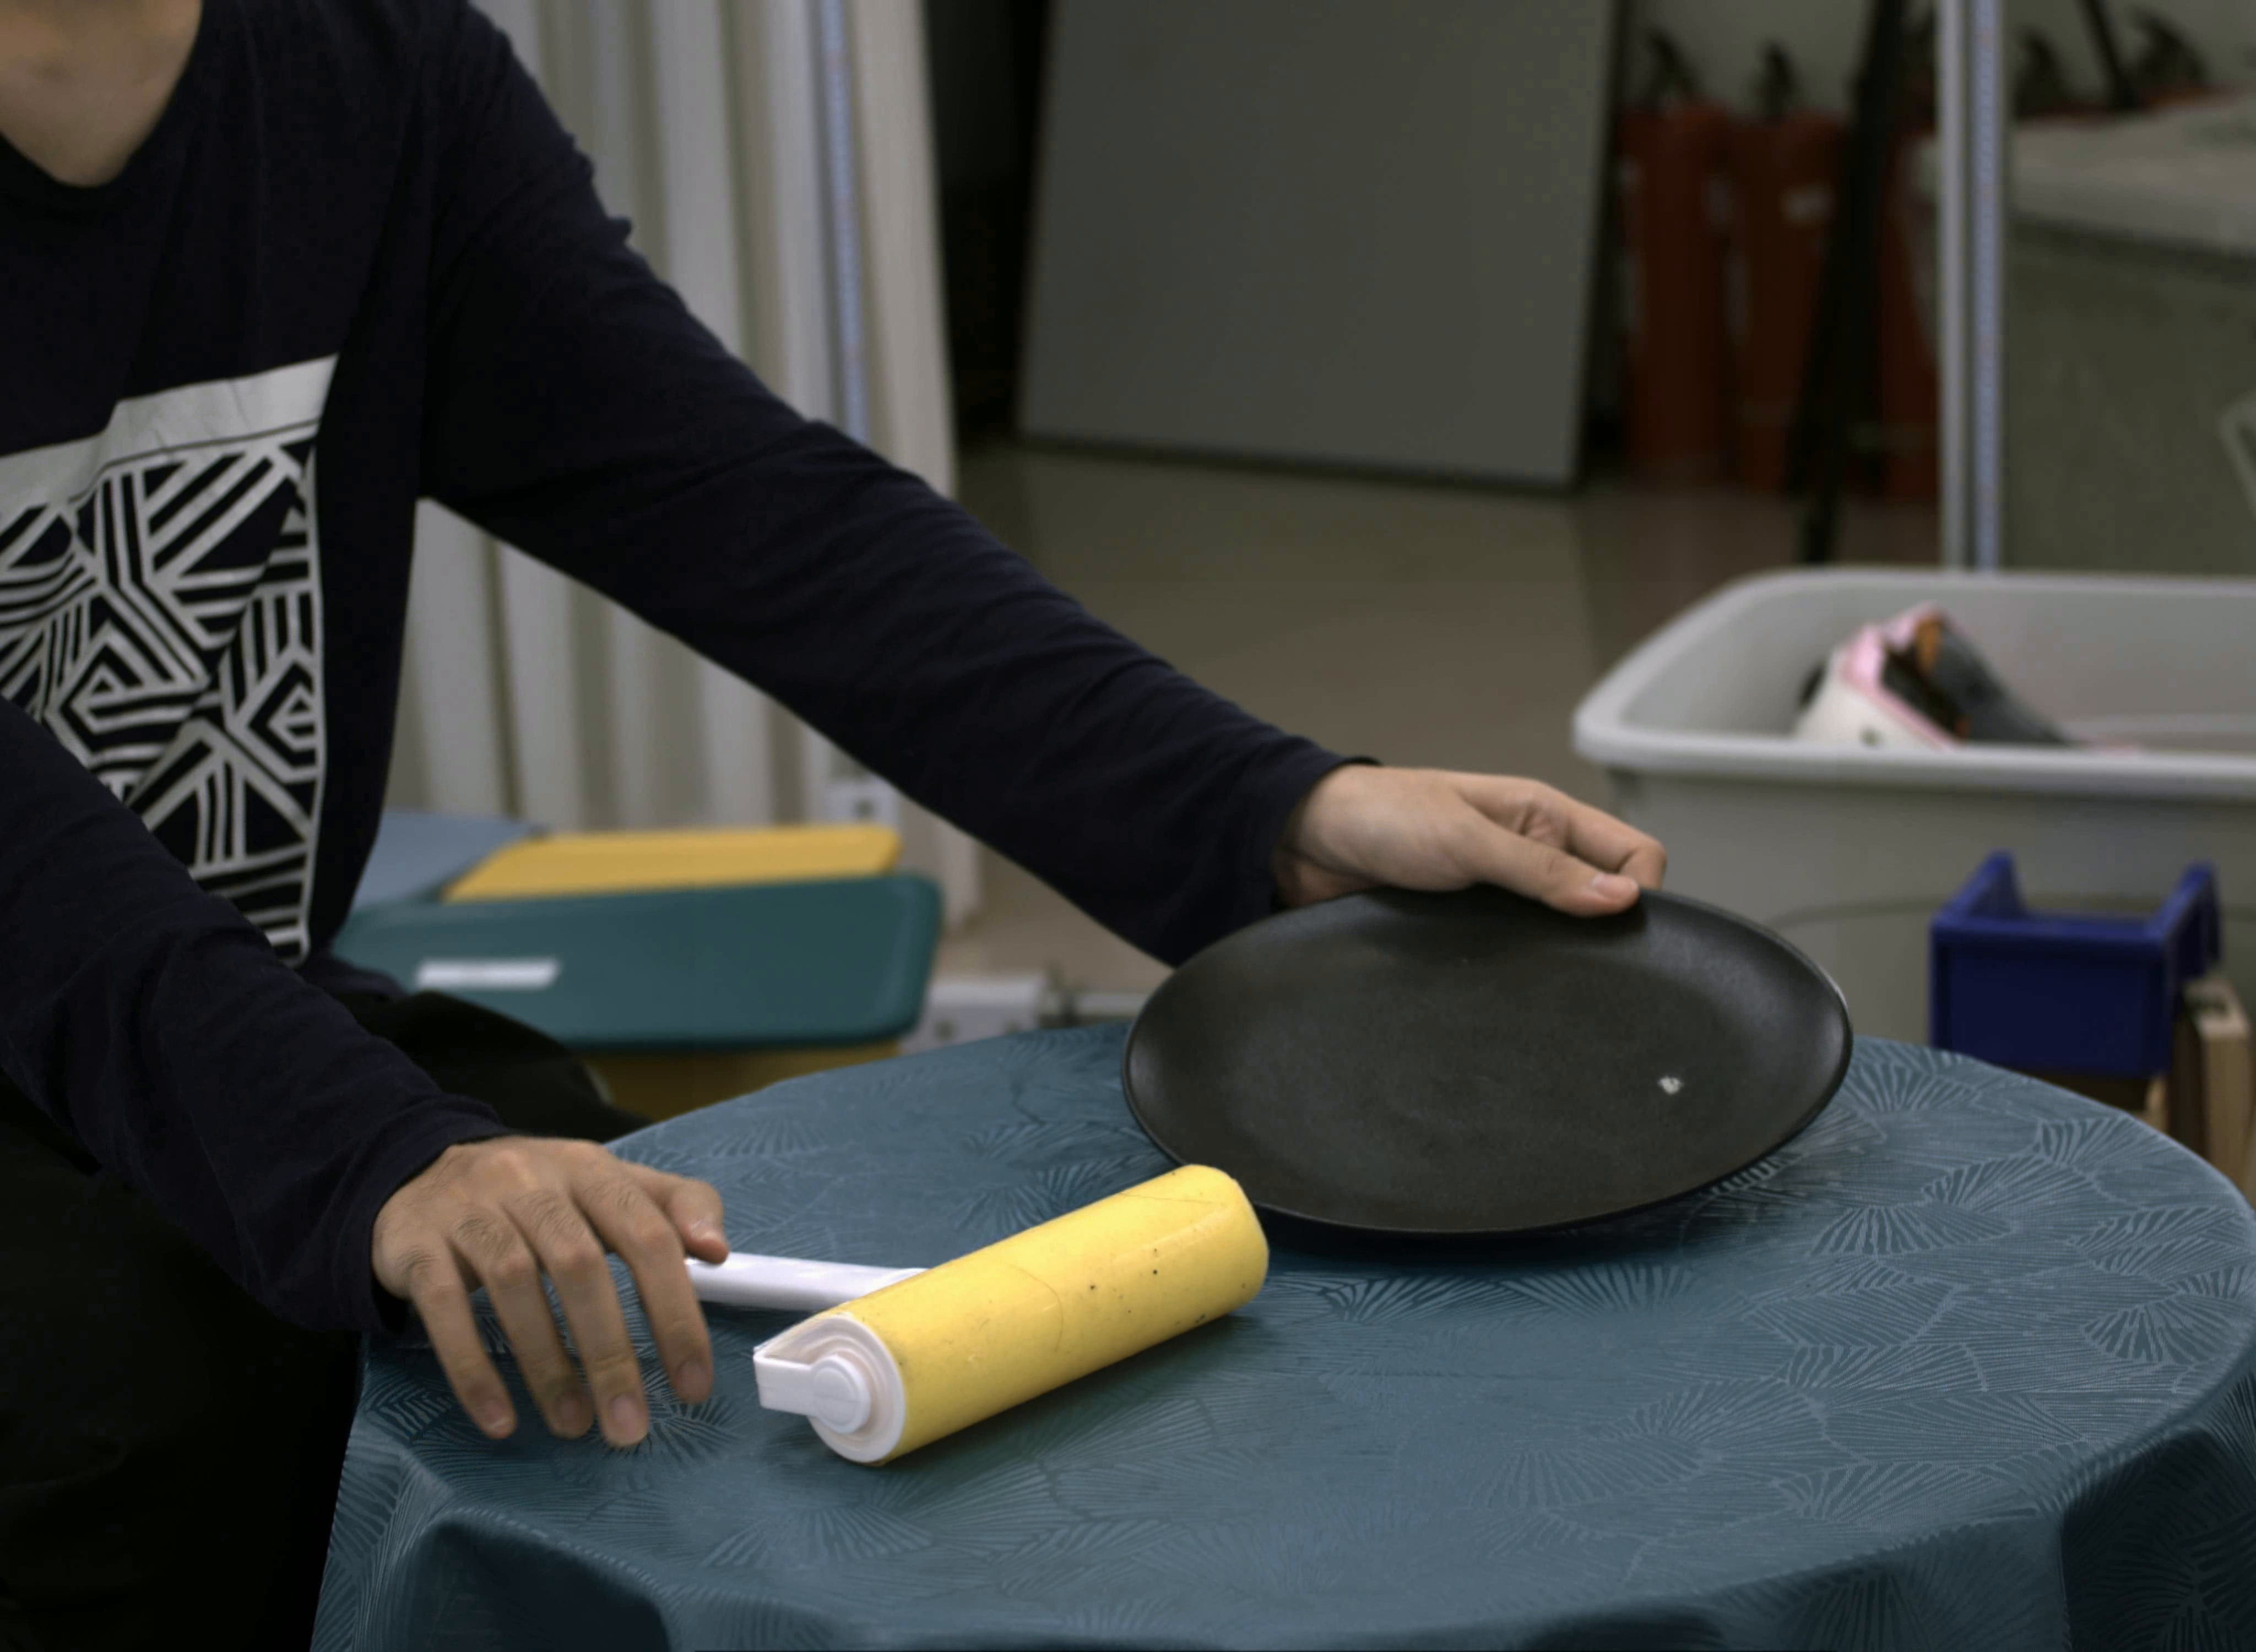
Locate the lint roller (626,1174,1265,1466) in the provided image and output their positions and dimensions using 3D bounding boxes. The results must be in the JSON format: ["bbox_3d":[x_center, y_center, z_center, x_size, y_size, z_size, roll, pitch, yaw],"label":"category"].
[{"bbox_3d":[-0.081,0.135,1.637,0.193,0.052,0.171,11,19,40],"label":"lint roller"}]

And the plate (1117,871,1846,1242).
[{"bbox_3d":[0.117,0.080,1.778,0.241,0.023,0.245,-6,26,2],"label":"plate"}]
